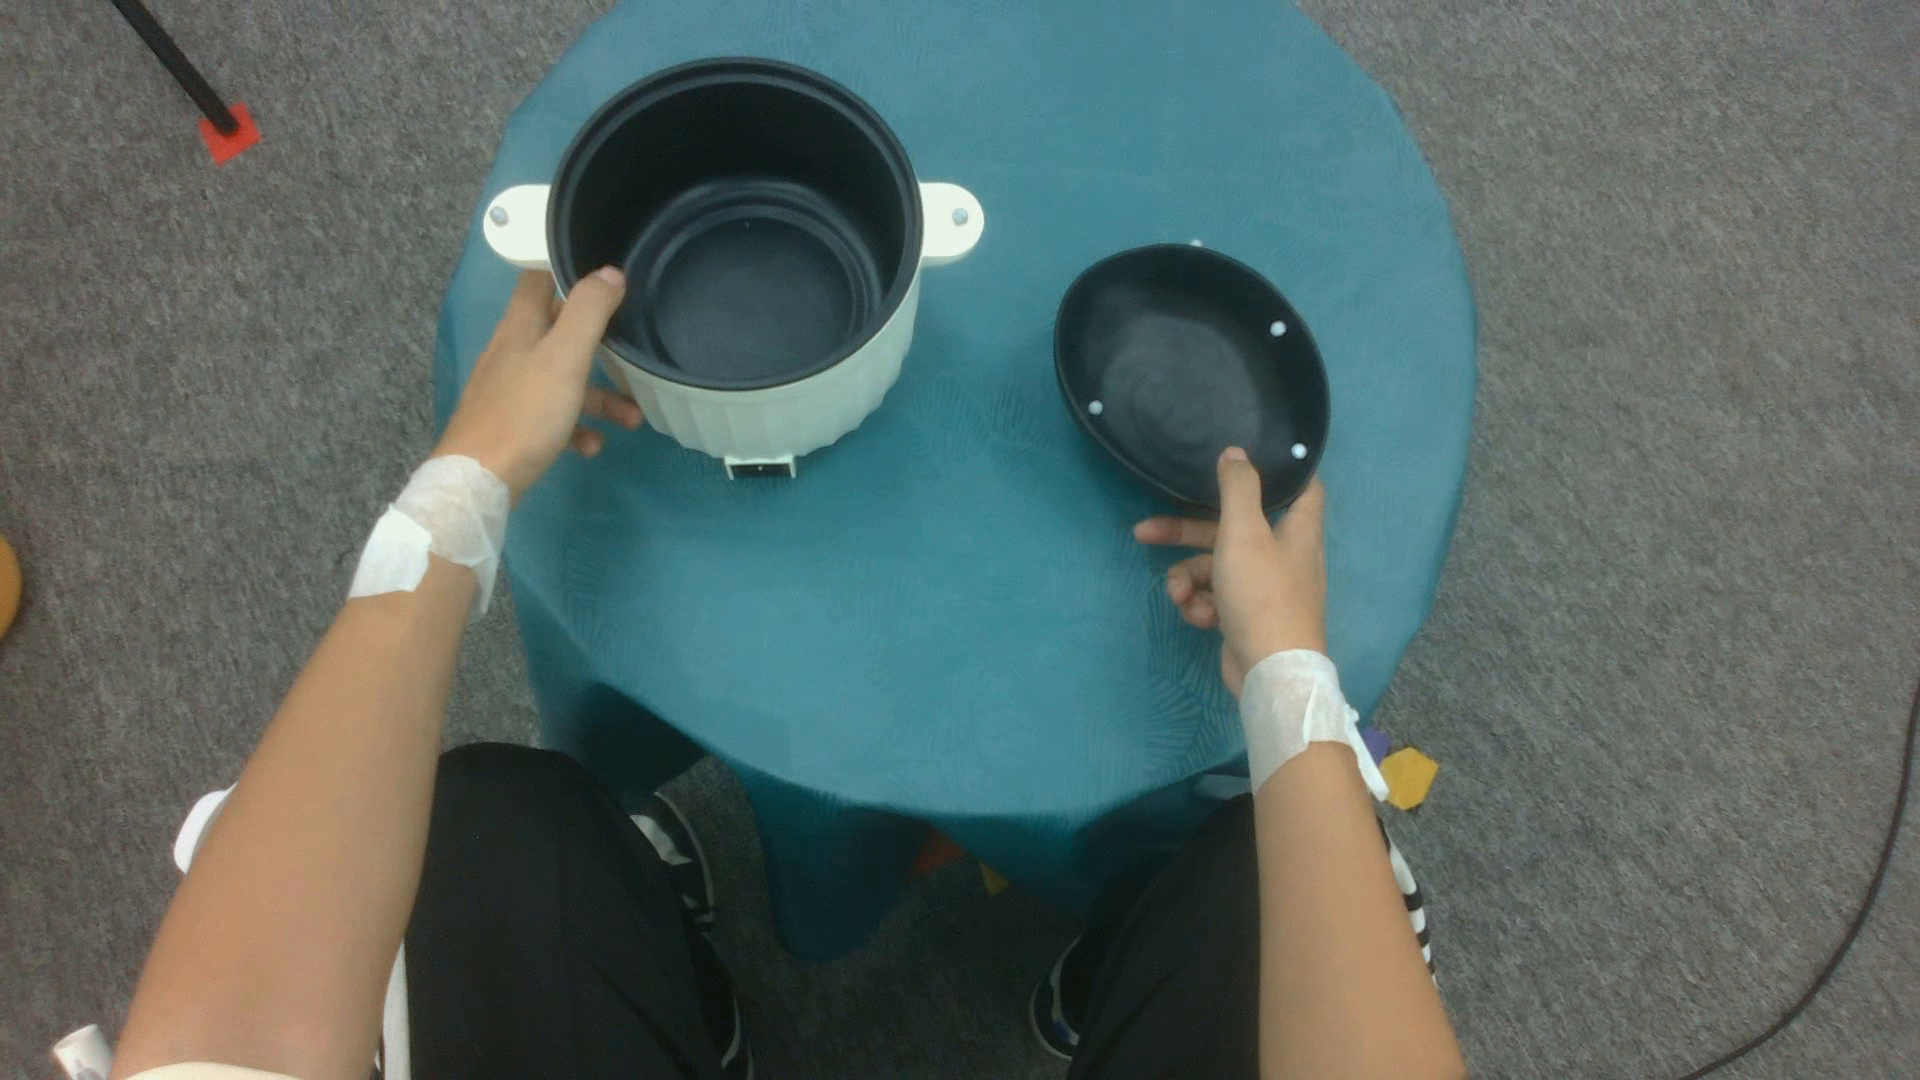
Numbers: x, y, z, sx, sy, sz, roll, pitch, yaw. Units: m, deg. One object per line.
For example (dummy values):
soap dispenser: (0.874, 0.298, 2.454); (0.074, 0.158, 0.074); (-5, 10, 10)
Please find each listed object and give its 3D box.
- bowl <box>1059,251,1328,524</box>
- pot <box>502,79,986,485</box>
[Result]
bowl: (0.129, -0.080, 0.779); (0.137, 0.066, 0.170); (-39, 78, -12)
pot: (-0.111, -0.138, 0.748); (0.240, 0.142, 0.191); (-3, 76, -4)
